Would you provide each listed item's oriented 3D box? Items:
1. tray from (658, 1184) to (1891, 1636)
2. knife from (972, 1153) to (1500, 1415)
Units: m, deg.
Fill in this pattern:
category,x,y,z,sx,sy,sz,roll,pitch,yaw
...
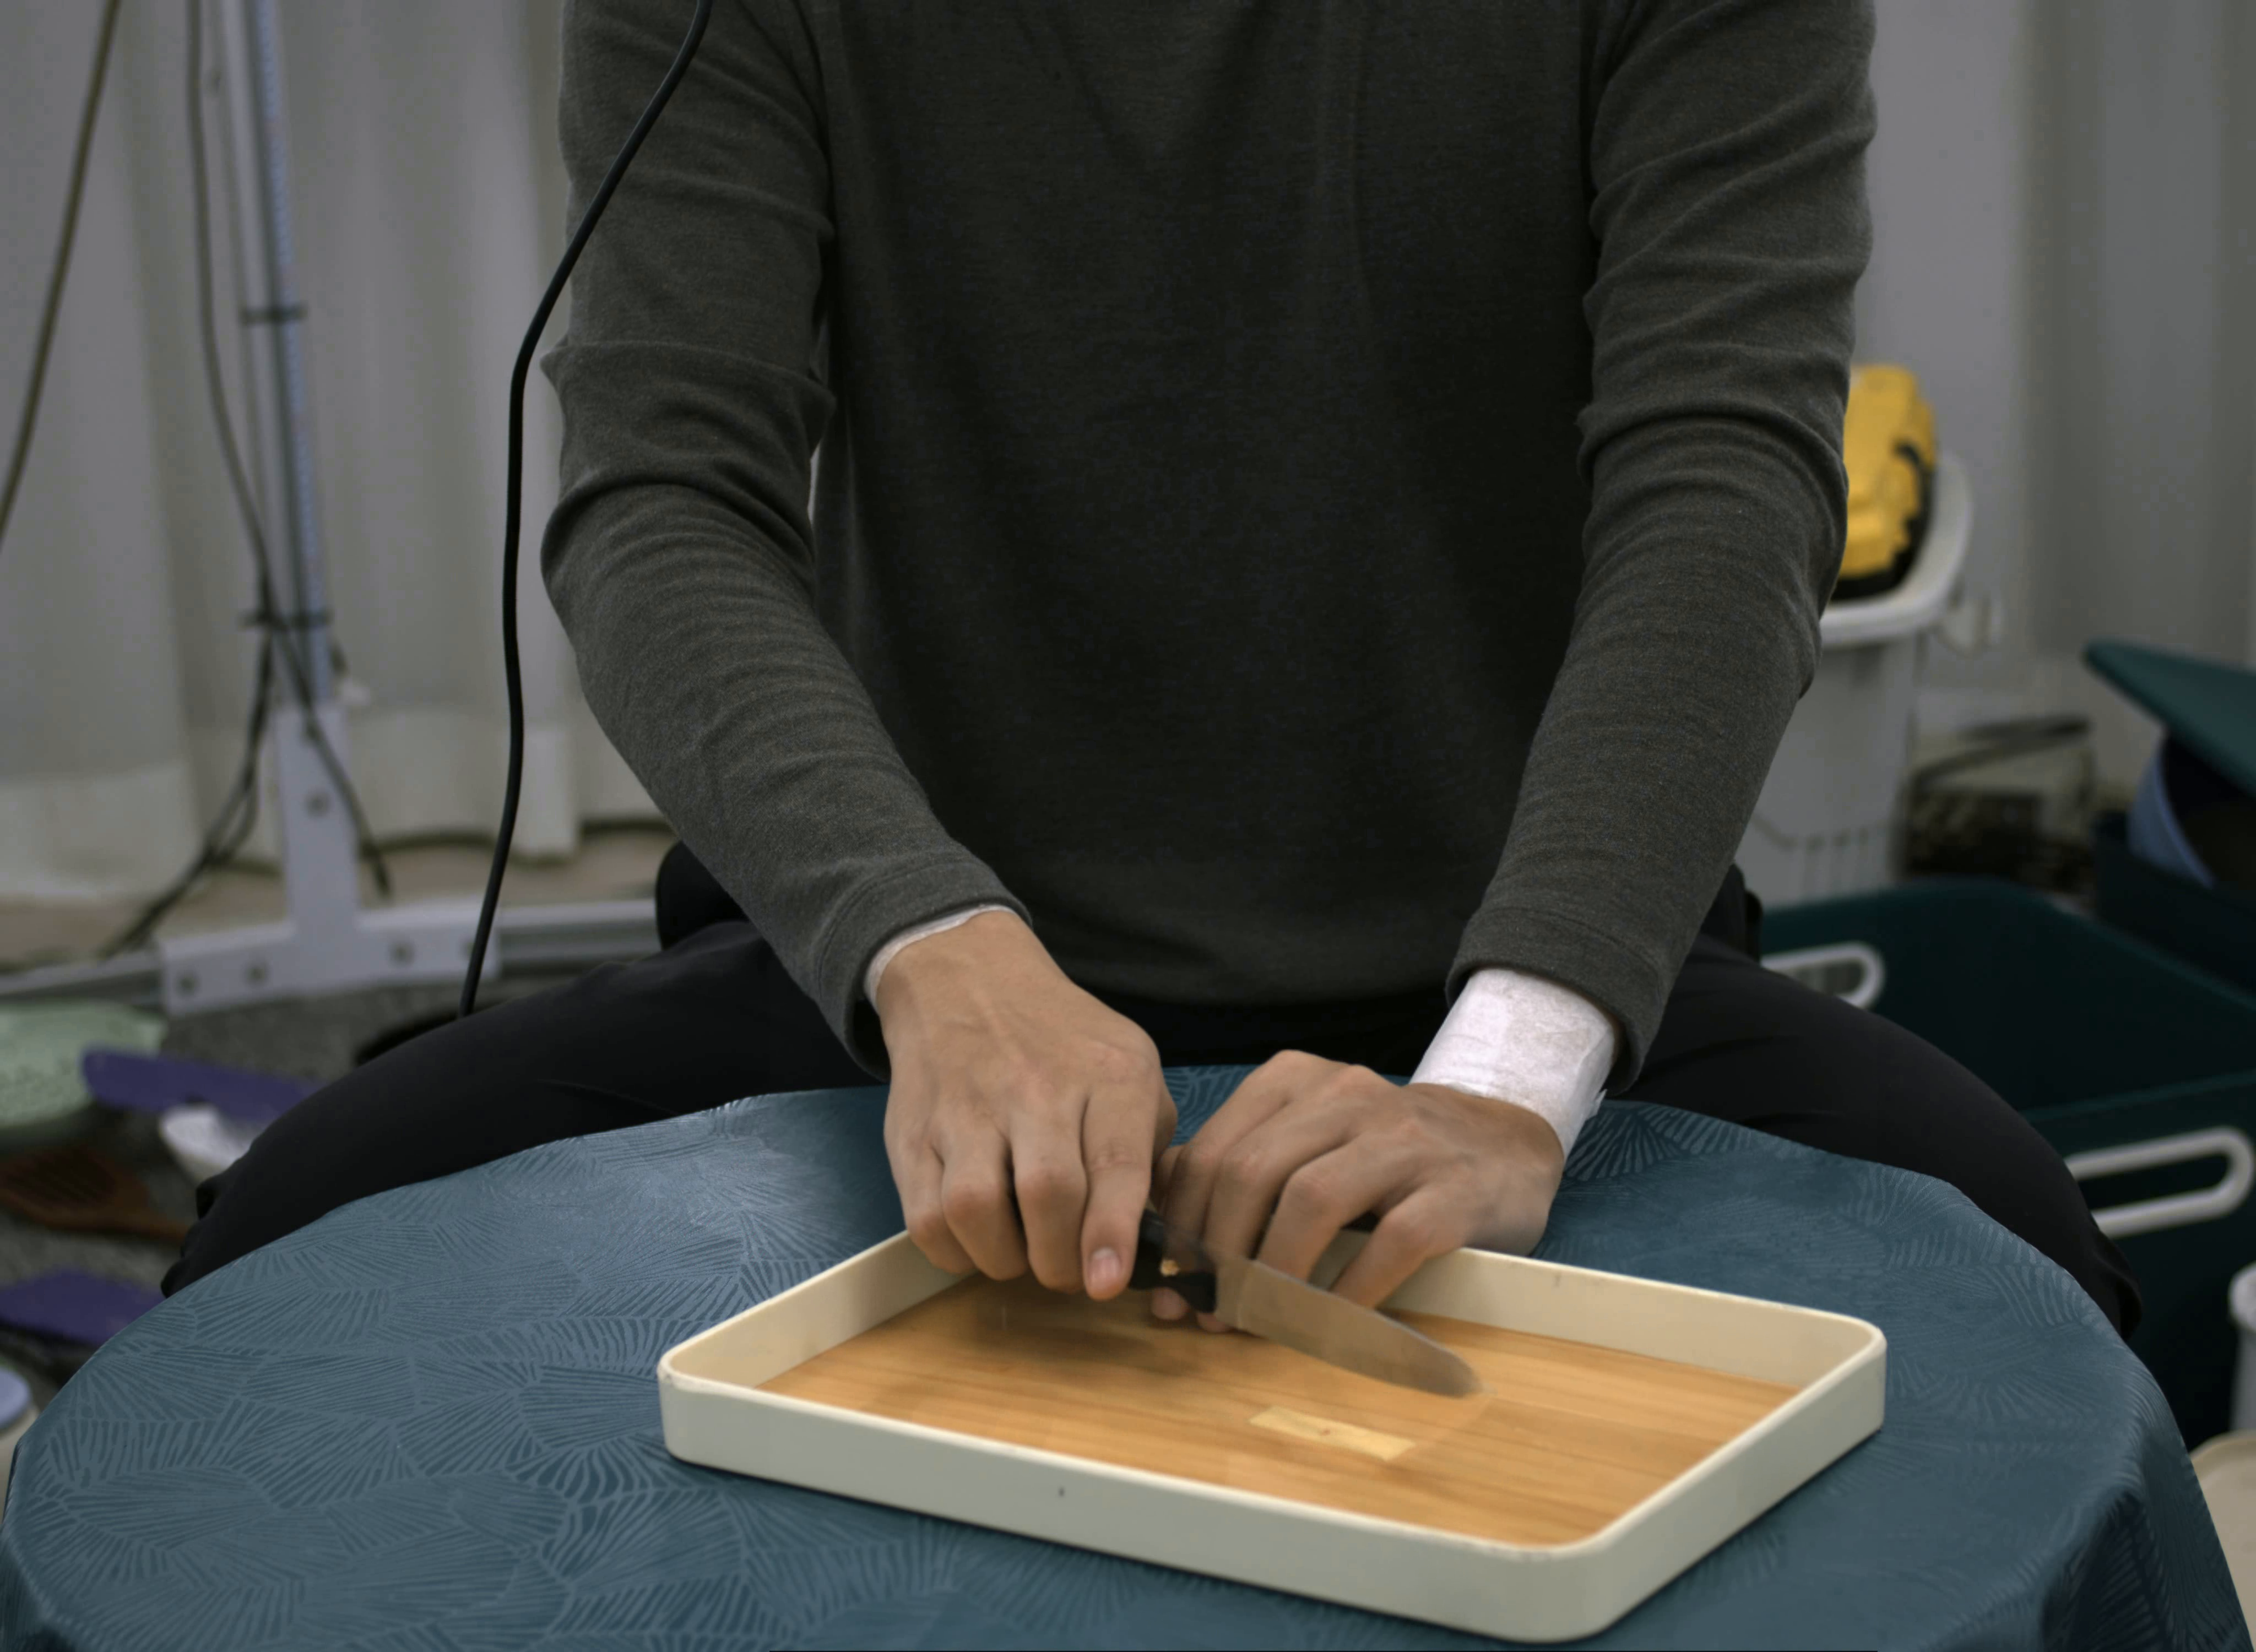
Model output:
category,x,y,z,sx,sy,sz,roll,pitch,yaw
tray,0.039,0.156,1.504,0.301,0.027,0.191,8,17,34
knife,0.028,0.126,1.516,0.016,0.024,0.240,-6,15,-35
